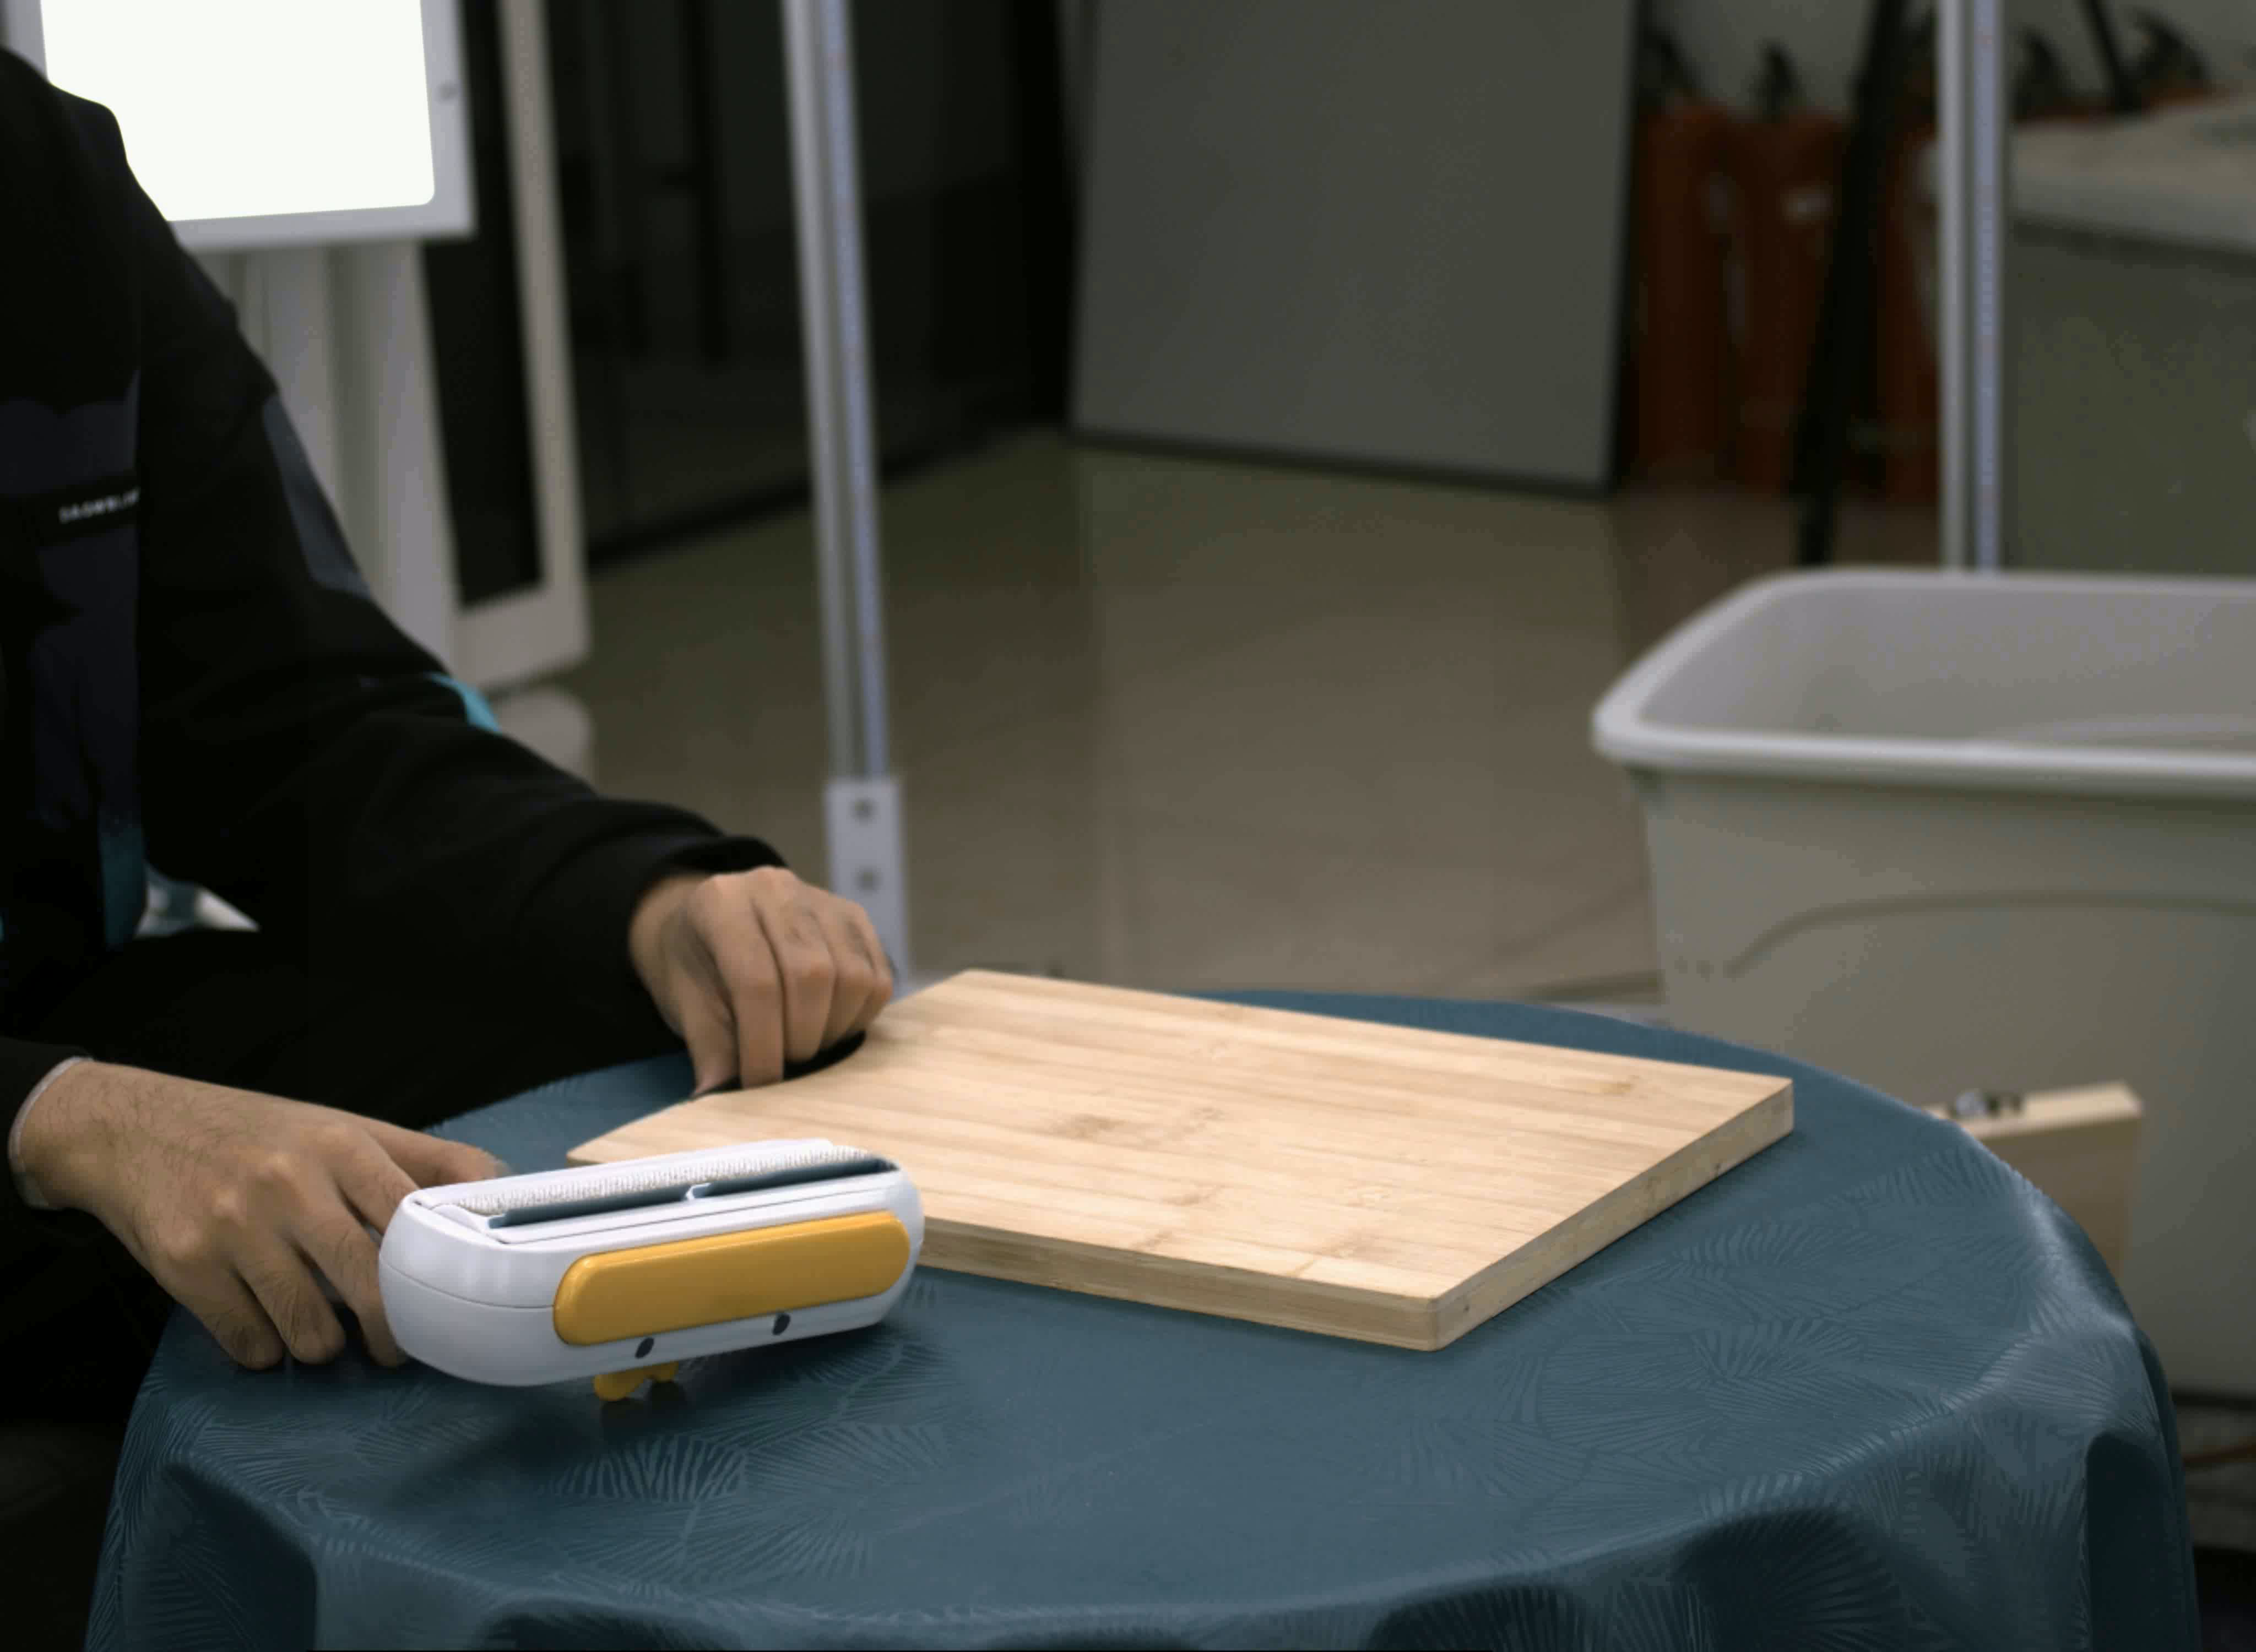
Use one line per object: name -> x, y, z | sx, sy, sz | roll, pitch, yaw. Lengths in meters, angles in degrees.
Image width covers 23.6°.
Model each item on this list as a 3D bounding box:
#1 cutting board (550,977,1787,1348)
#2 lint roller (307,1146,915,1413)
cutting board -> 0.013, 0.107, 1.794 | 0.350, 0.024, 0.246 | 5, 17, 34
lint roller -> -0.185, 0.131, 1.646 | 0.188, 0.075, 0.194 | -10, 12, -43
